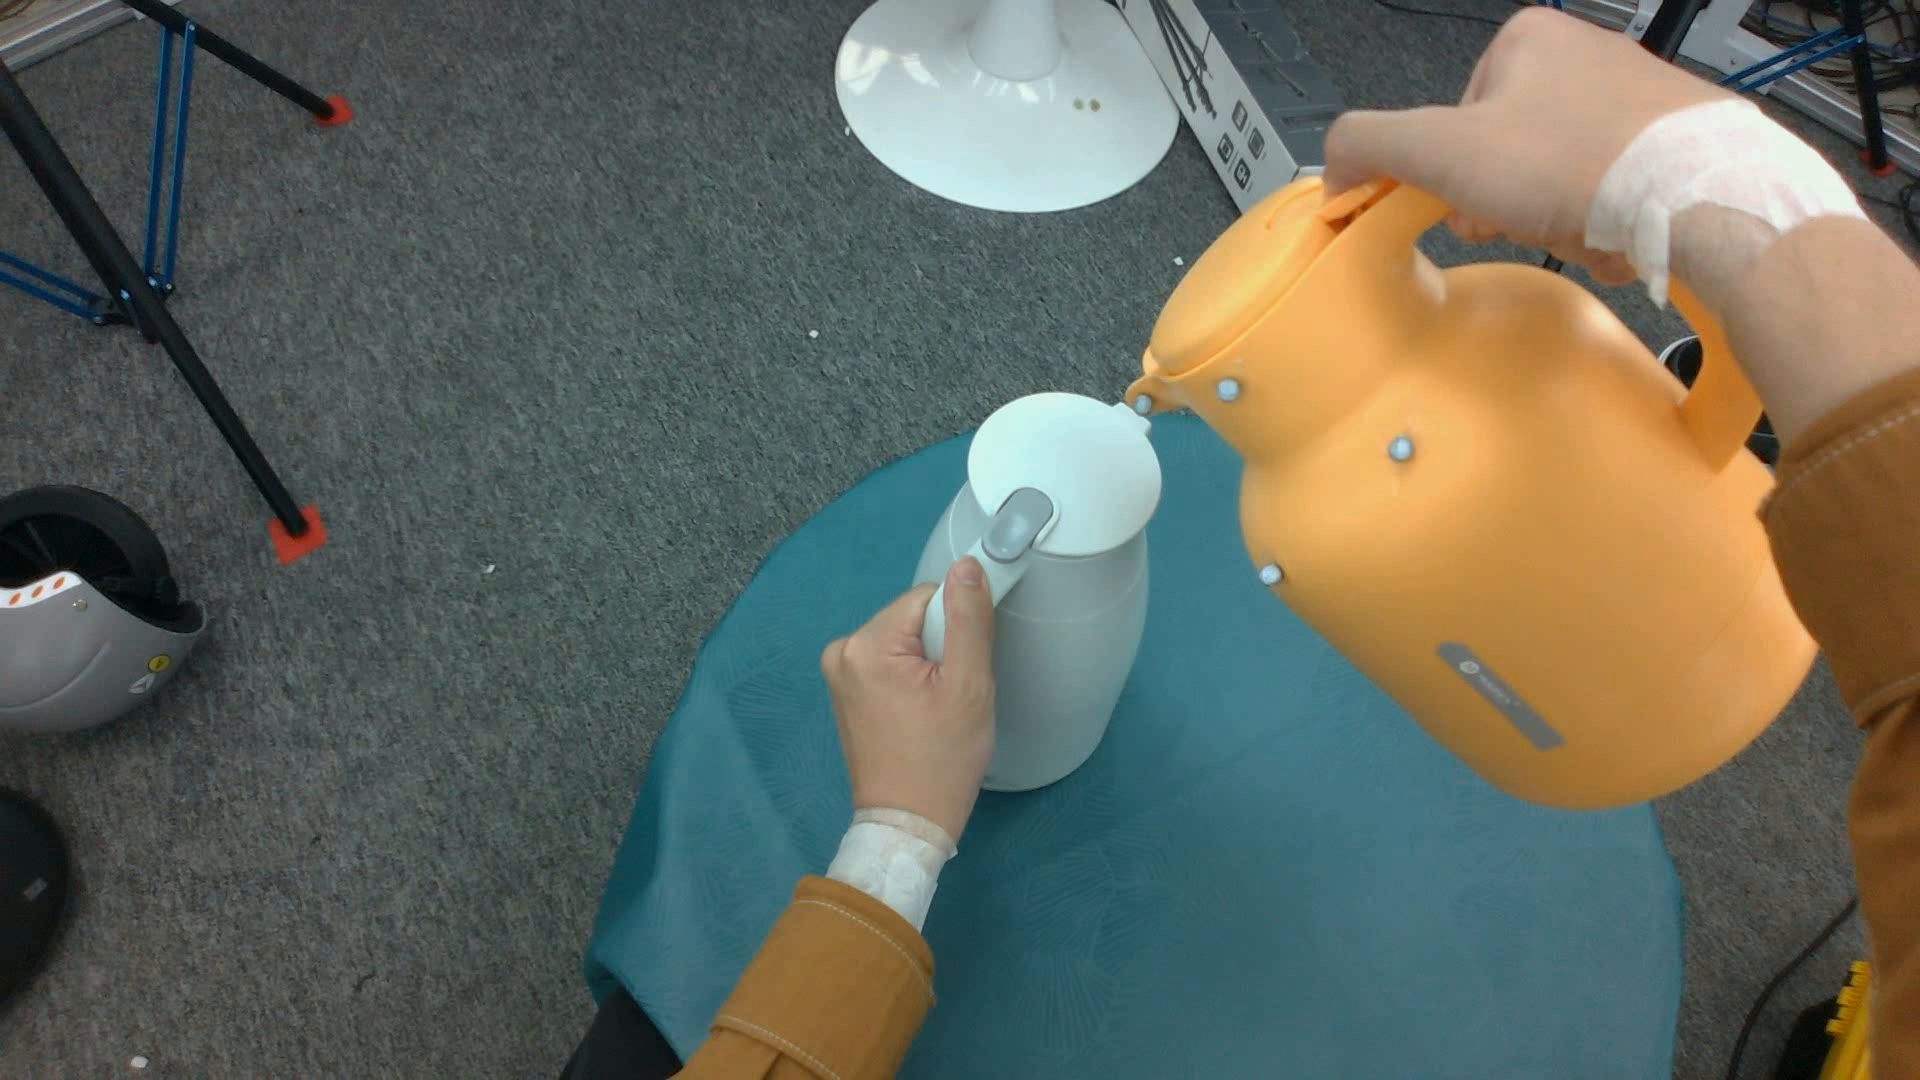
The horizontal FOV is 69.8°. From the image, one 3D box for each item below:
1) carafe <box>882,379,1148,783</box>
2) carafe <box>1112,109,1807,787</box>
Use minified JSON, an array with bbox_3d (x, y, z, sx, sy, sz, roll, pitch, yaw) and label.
[{"bbox_3d":[0.020,0.035,0.726,0.132,0.247,0.168,36,62,15],"label":"carafe"},{"bbox_3d":[0.198,-0.037,0.526,0.260,0.201,0.164,38,50,-14],"label":"carafe"}]
